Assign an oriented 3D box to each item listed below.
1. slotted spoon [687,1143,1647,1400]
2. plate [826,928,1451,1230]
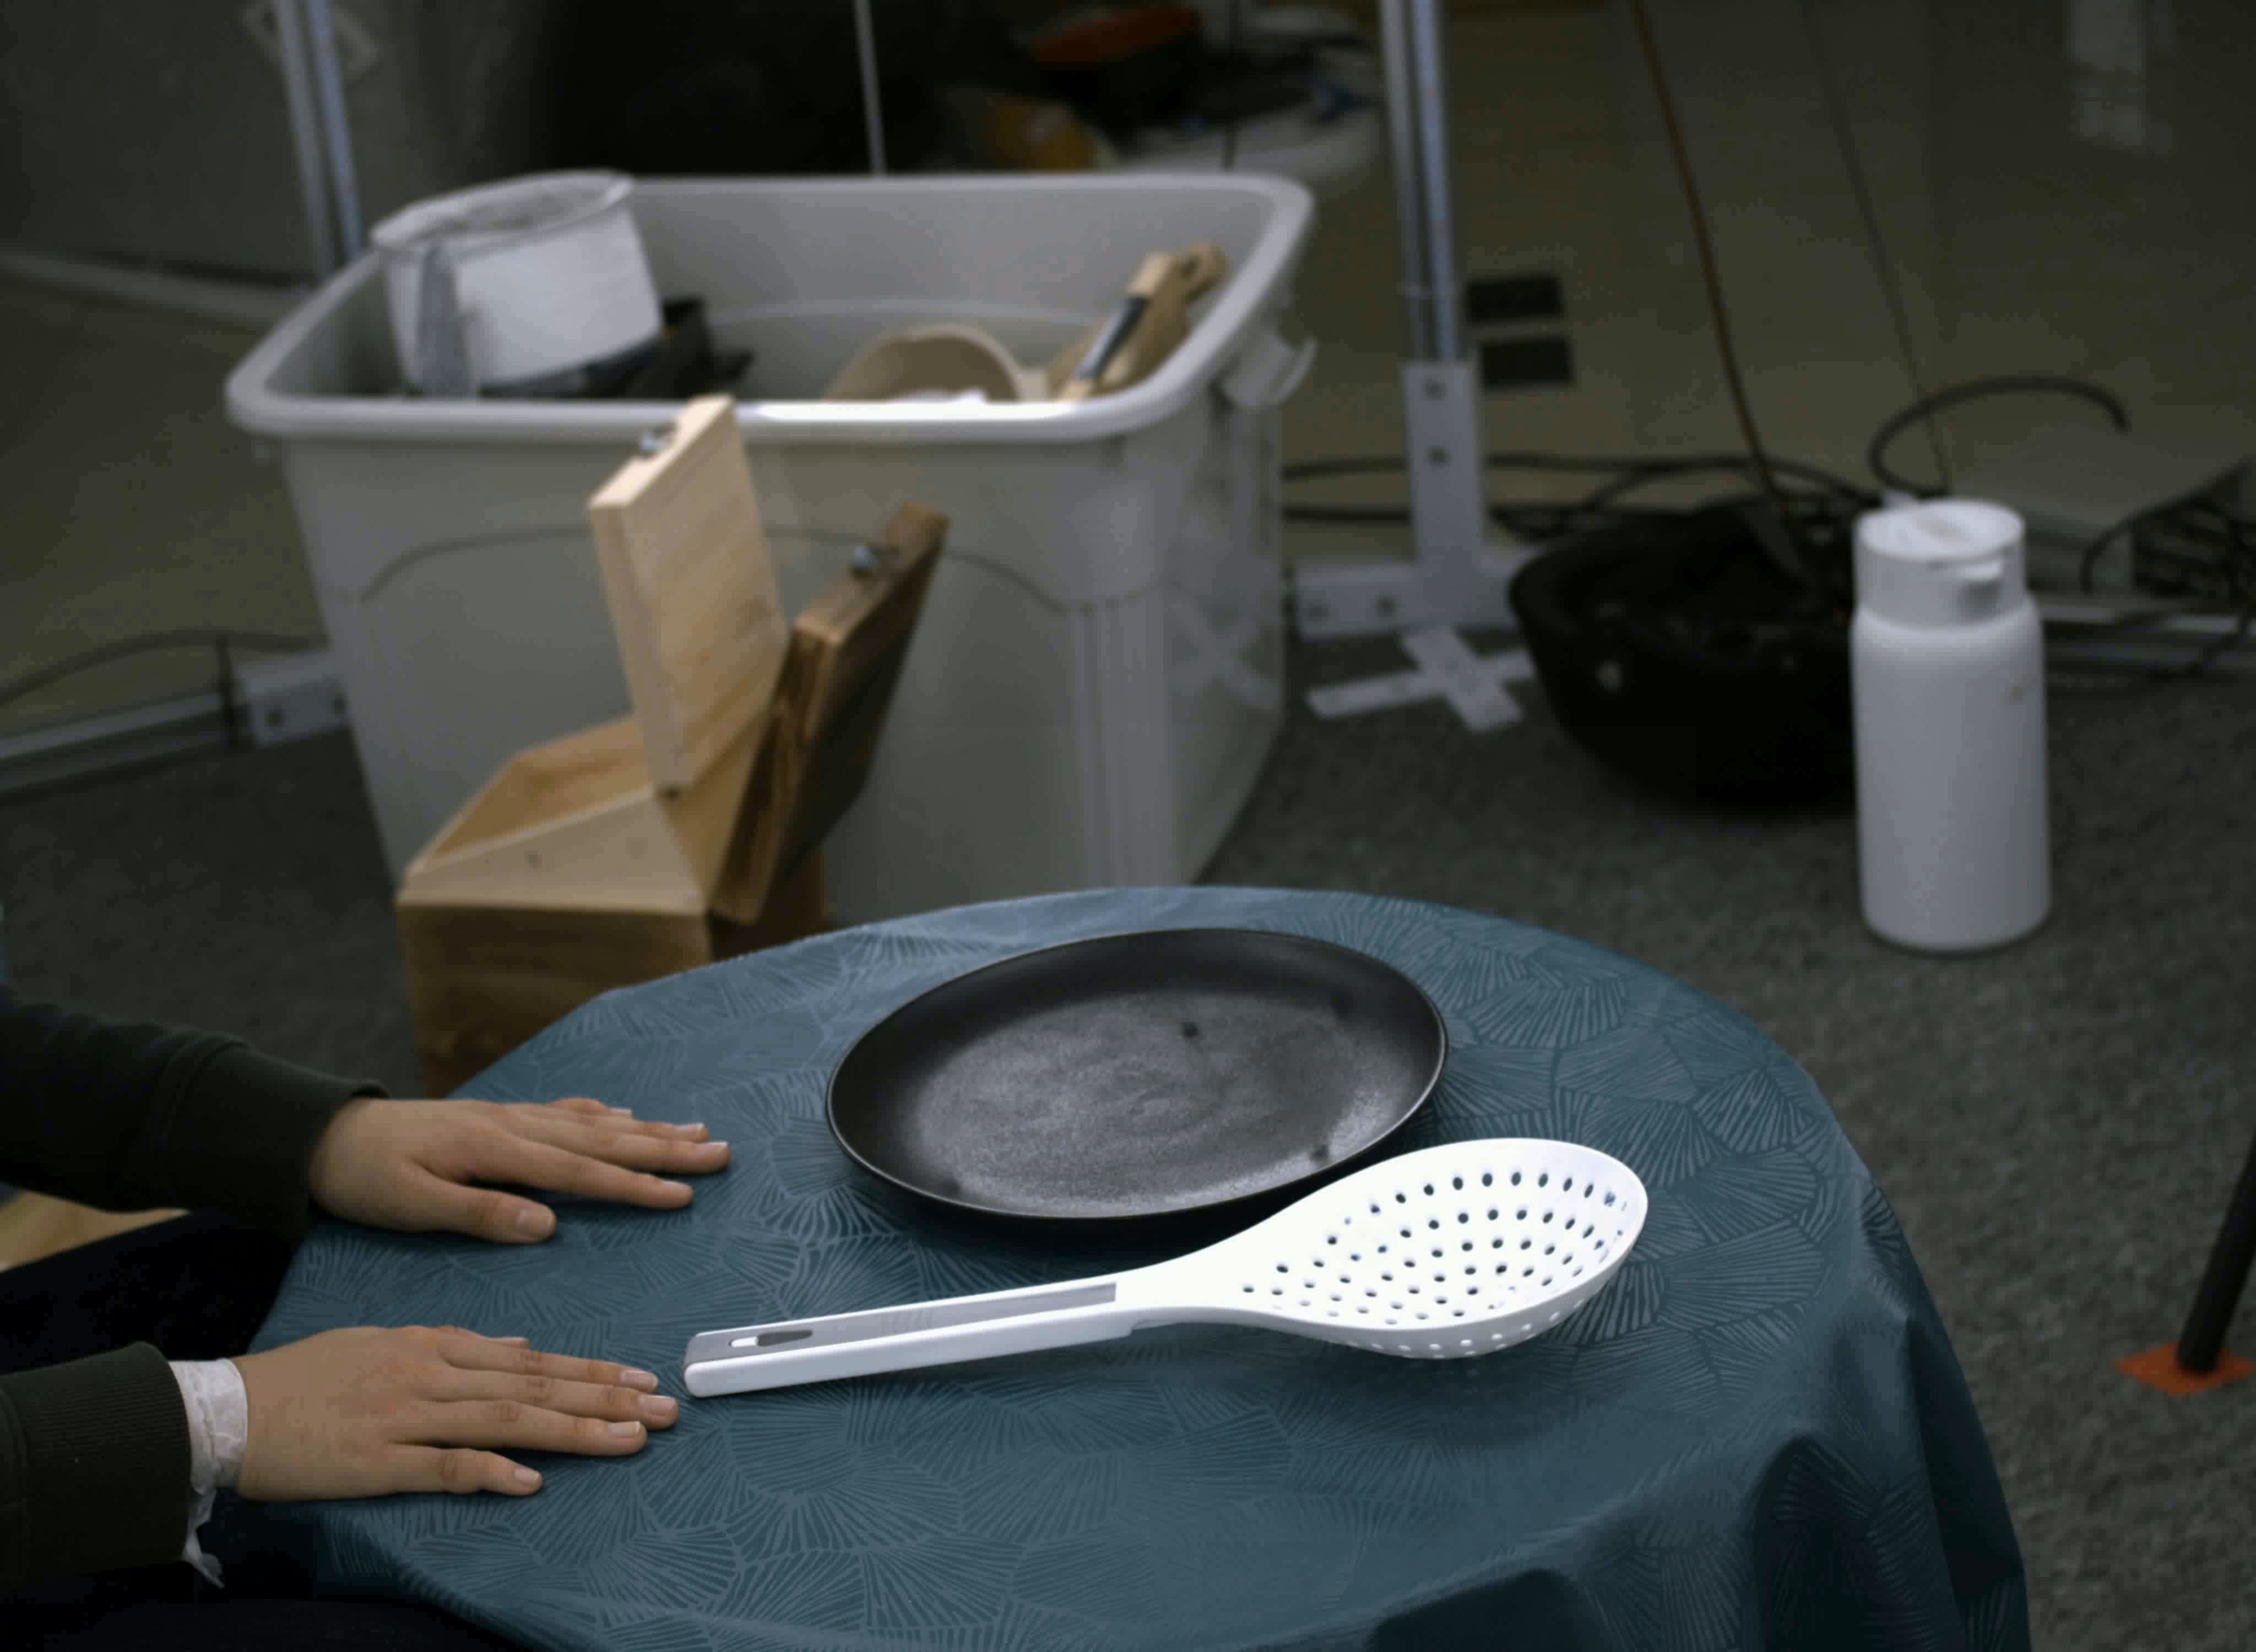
[{"bbox_3d":[0.013,0.169,2.032,0.349,0.046,0.134,-5,23,5],"label":"slotted spoon"},{"bbox_3d":[0.005,0.103,2.201,0.244,0.024,0.241,-6,25,3],"label":"plate"}]
